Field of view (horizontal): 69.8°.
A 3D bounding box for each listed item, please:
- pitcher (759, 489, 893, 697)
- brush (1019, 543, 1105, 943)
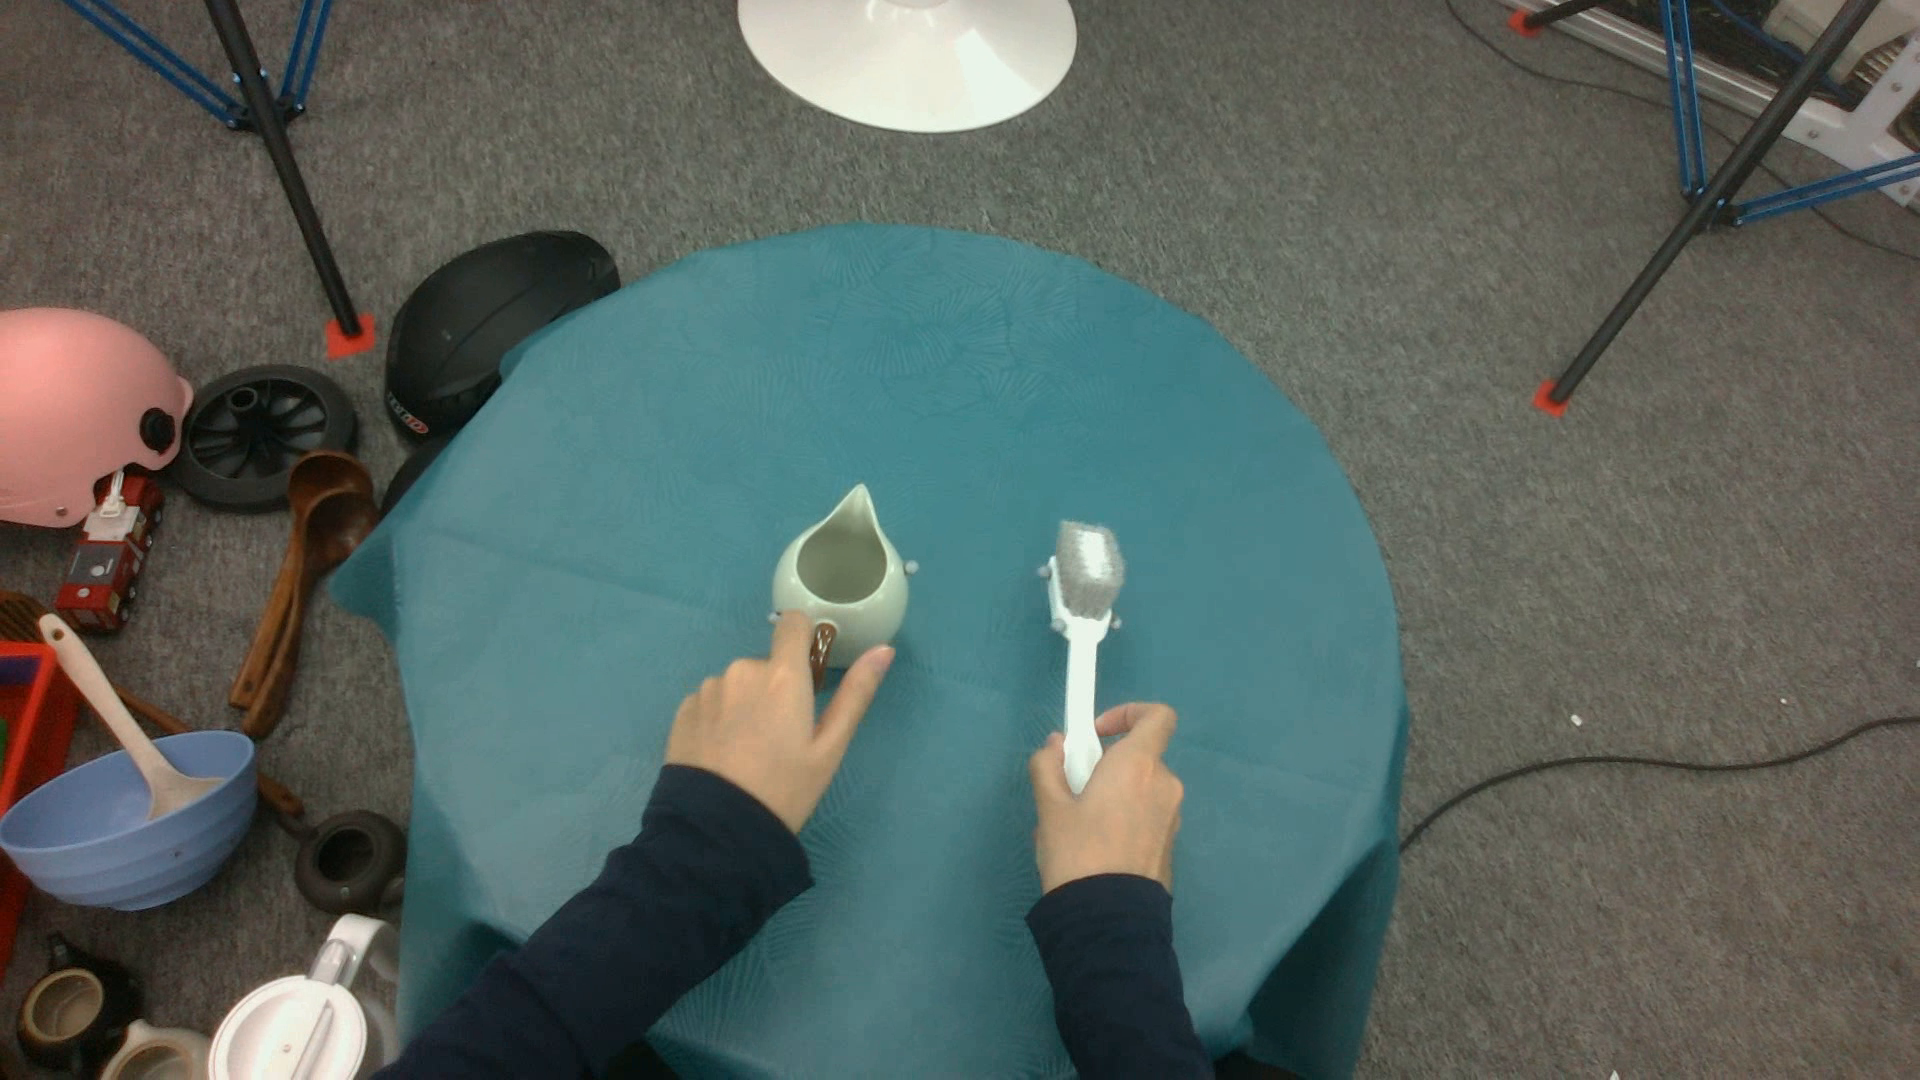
[{"bbox_3d":[-0.078,0.044,0.785,0.076,0.087,0.120,11,52,4],"label":"pitcher"},{"bbox_3d":[0.056,0.098,0.751,0.034,0.050,0.245,16,46,-11],"label":"brush"}]
